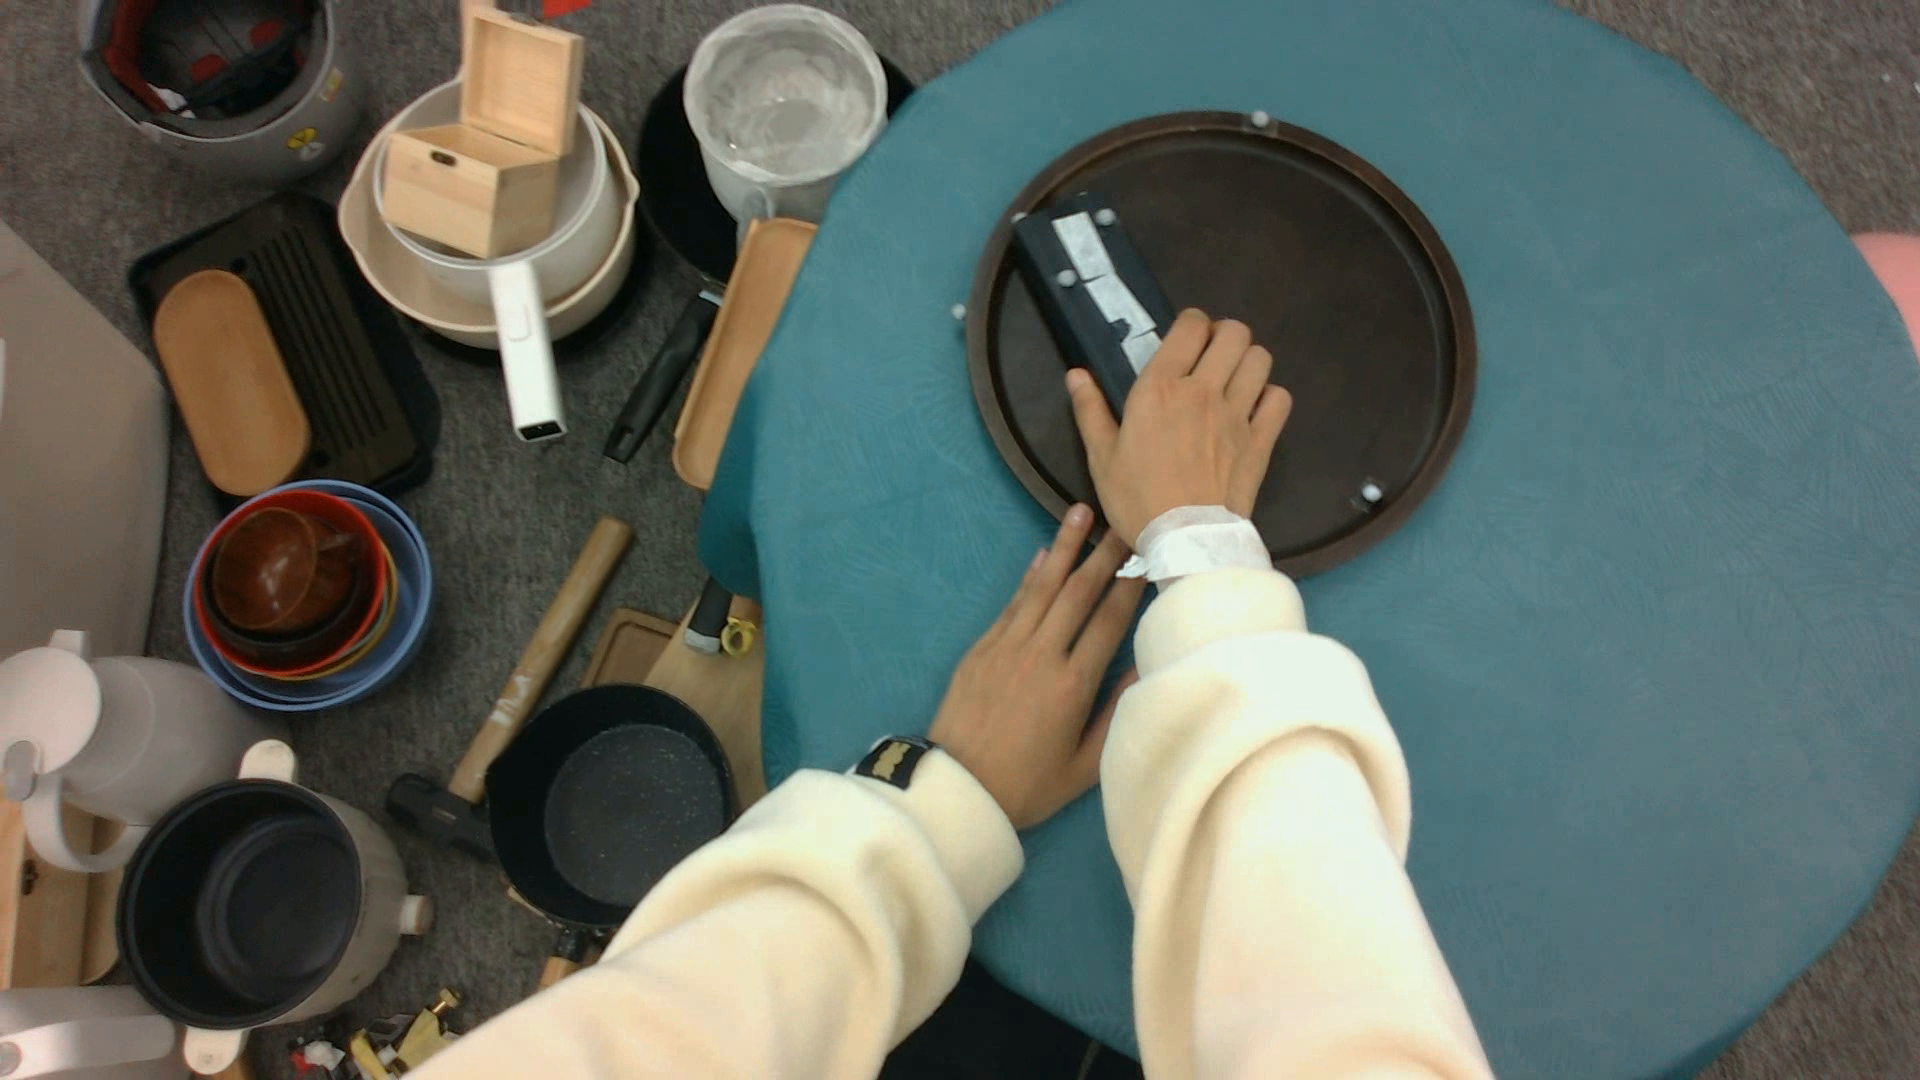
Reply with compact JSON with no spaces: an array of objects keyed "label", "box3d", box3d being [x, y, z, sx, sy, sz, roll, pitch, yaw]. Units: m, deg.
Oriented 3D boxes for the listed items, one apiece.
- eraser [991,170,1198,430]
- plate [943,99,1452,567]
[{"label":"eraser","box3d":[0.064,-0.118,0.675,0.053,0.030,0.126,-23,73,-8]},{"label":"plate","box3d":[0.119,-0.107,0.691,0.255,0.029,0.255,1,72,-2]}]
